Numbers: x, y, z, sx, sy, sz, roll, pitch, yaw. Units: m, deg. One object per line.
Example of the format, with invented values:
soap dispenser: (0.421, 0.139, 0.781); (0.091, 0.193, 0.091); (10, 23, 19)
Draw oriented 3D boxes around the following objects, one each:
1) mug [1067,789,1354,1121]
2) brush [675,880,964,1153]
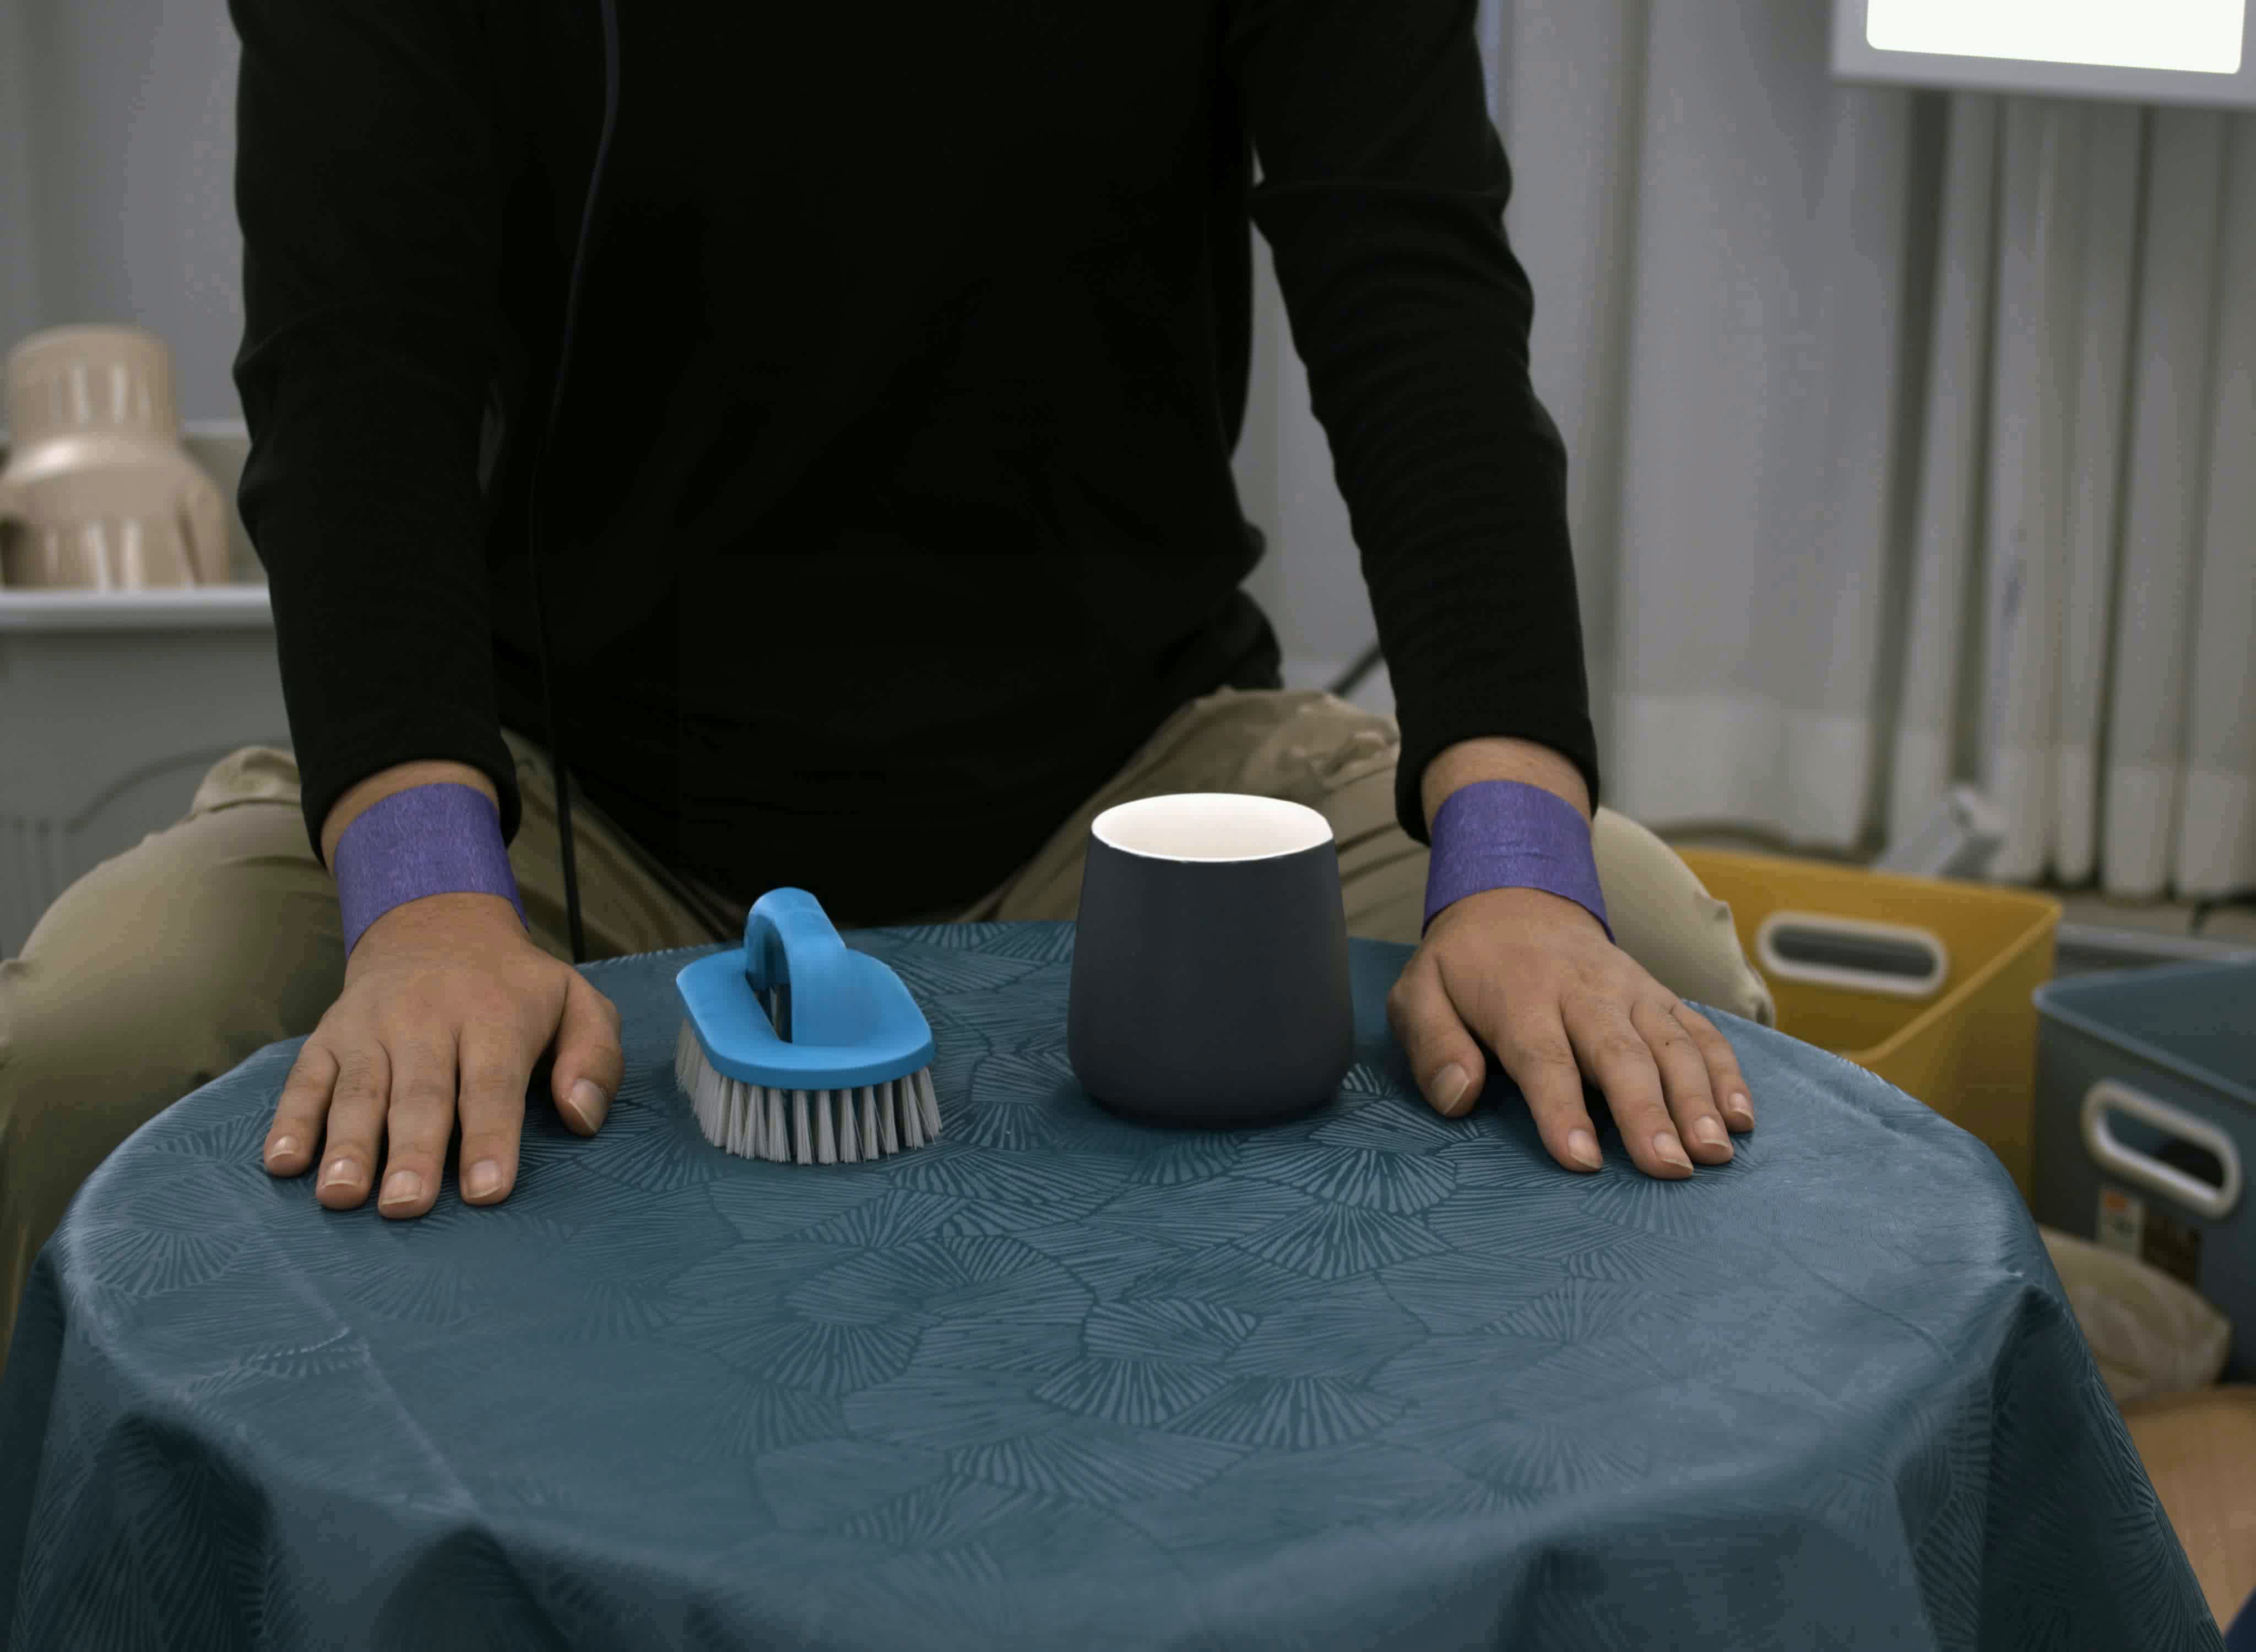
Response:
mug: (0.026, 0.037, 1.717); (0.093, 0.090, 0.122); (-1, 17, -5)
brush: (-0.103, 0.055, 1.699); (0.084, 0.064, 0.140); (-7, 16, -10)
